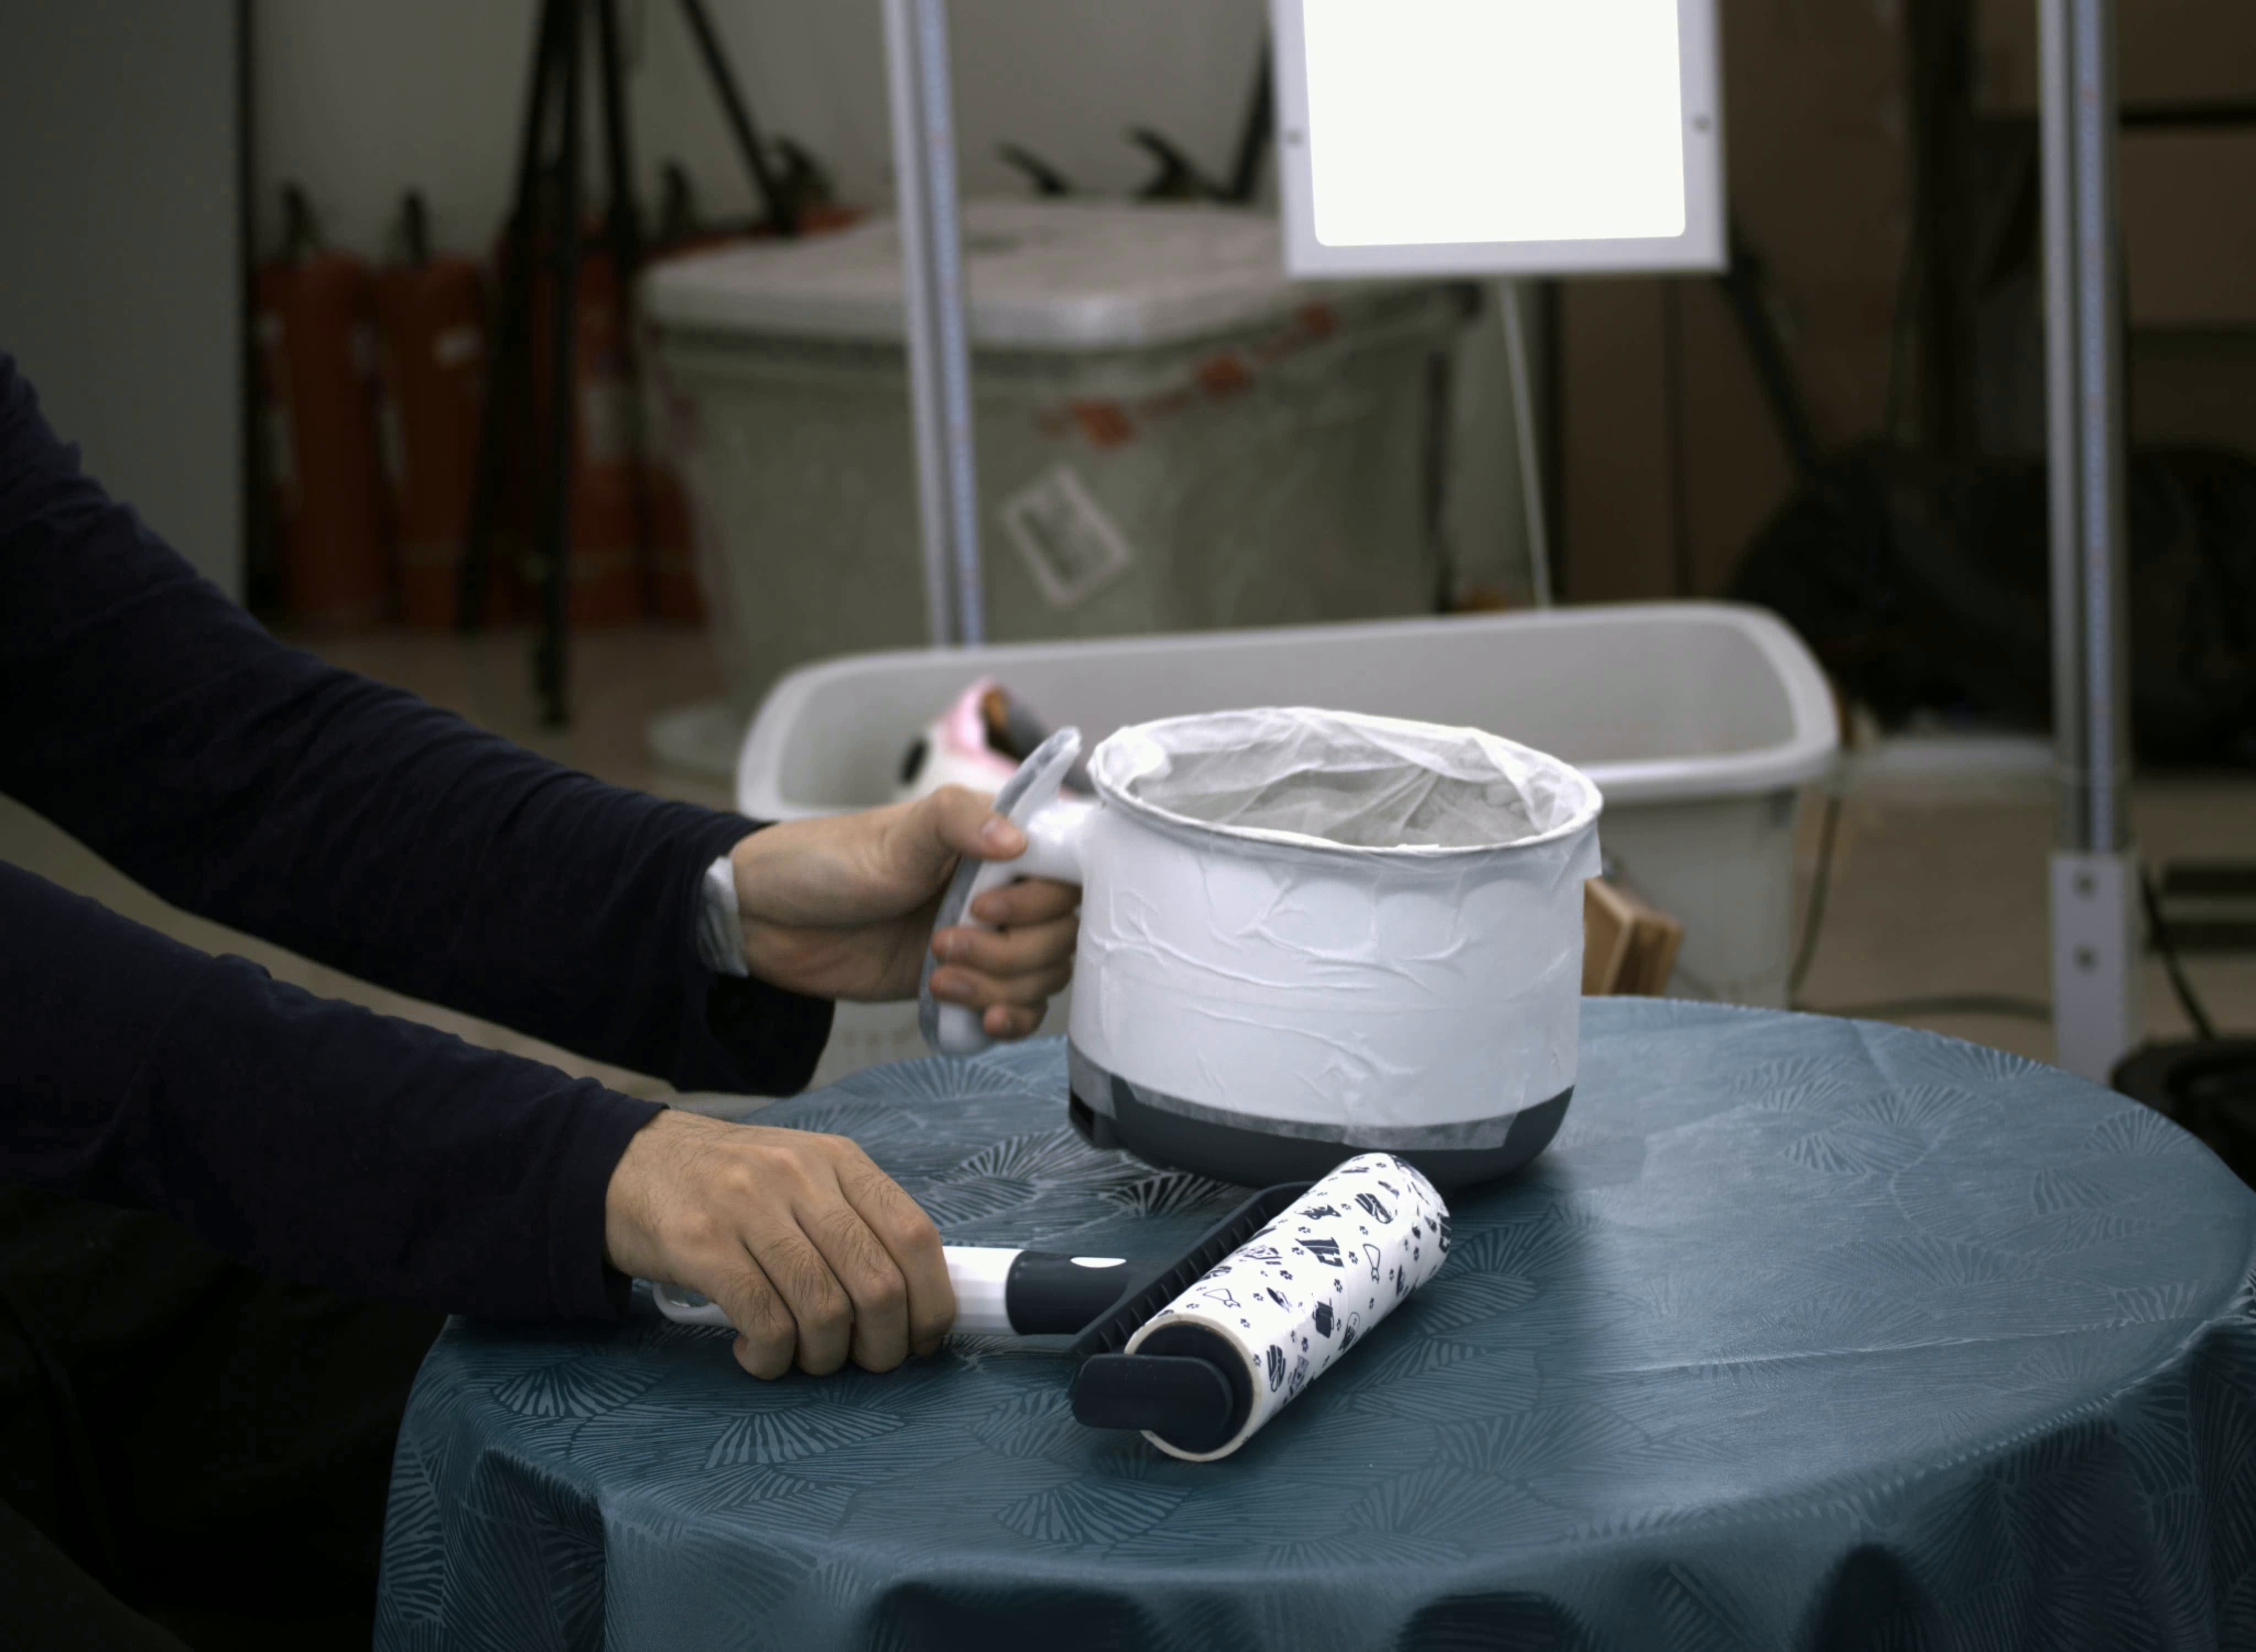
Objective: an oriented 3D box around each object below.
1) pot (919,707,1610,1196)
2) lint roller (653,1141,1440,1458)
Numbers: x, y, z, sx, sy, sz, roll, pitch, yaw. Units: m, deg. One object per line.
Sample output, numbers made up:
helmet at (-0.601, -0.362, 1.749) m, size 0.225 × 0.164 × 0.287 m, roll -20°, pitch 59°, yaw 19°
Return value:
pot at (0.044, 0.038, 1.901) m, size 0.235 × 0.137 × 0.176 m, roll 8°, pitch 13°, yaw 11°
lint roller at (-0.043, 0.146, 1.745) m, size 0.251 × 0.050 × 0.173 m, roll -1°, pitch 16°, yaw 26°
